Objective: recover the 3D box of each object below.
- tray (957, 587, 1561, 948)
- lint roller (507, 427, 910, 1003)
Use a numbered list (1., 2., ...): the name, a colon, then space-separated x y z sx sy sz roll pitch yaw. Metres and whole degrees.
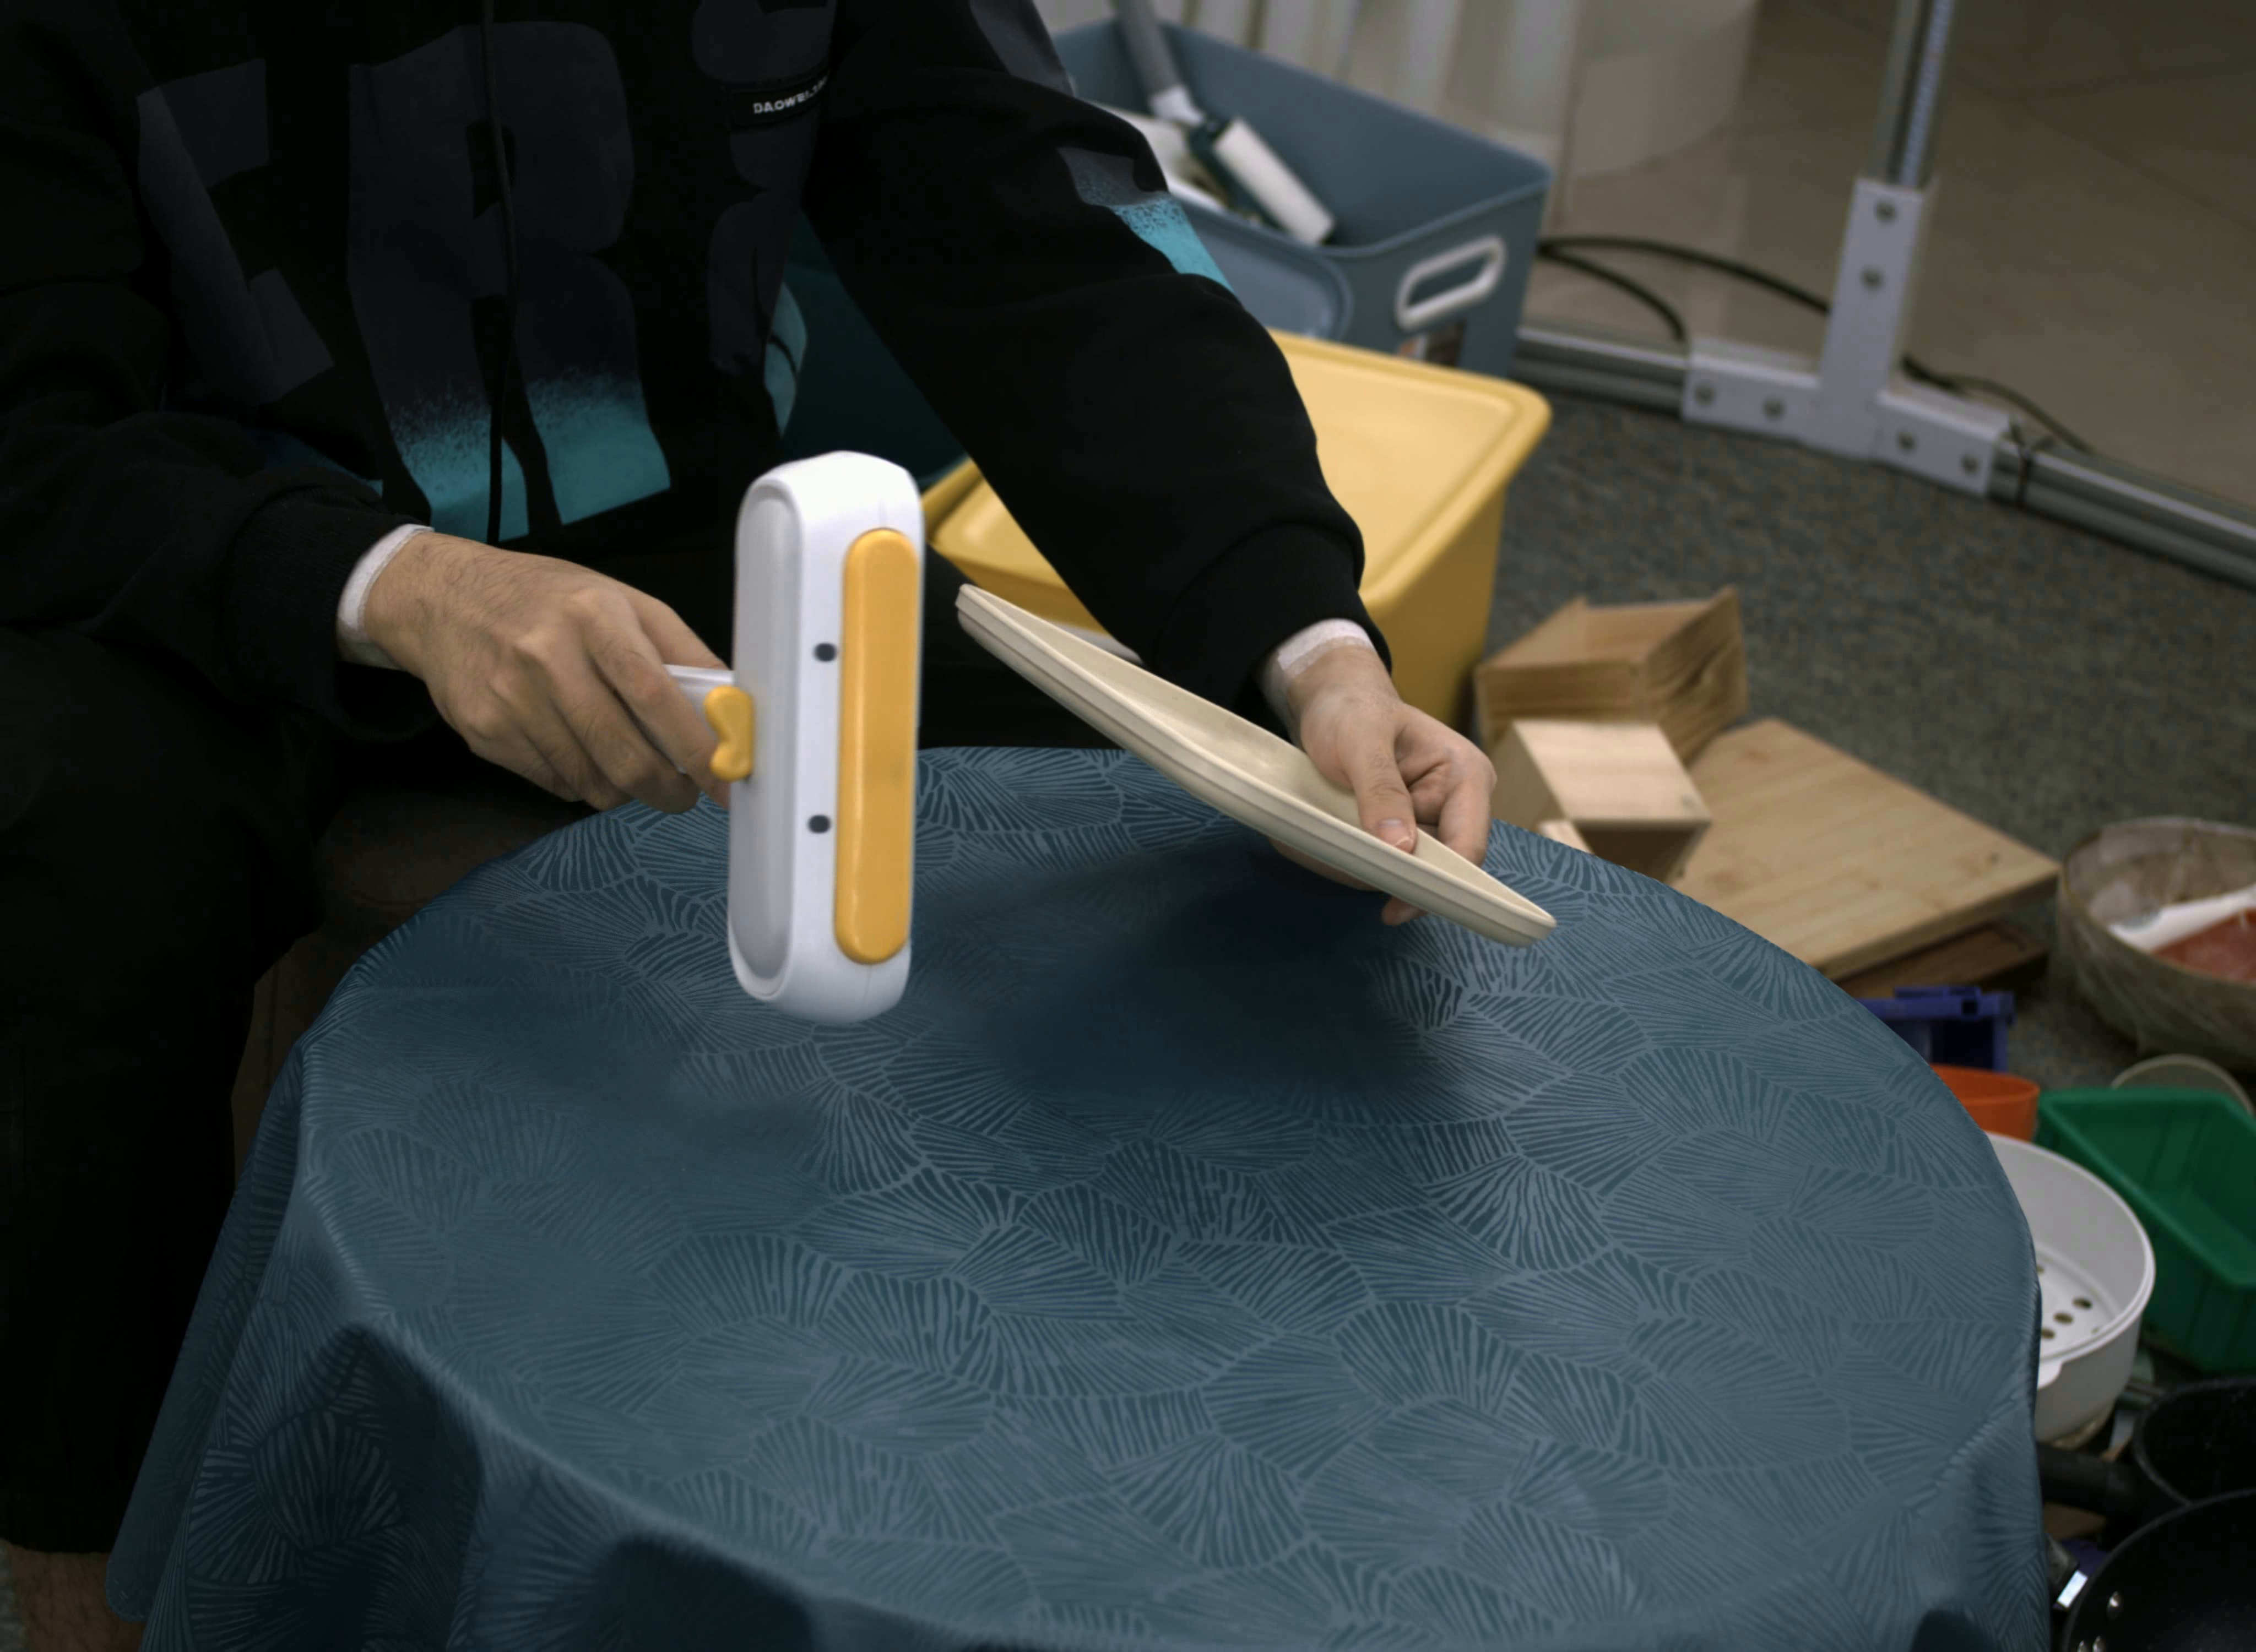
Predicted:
1. tray: 0.042 -0.020 1.905 0.170 0.017 0.241 25 5 -30
2. lint roller: -0.144 -0.037 1.832 0.073 0.193 0.193 -8 5 -35
